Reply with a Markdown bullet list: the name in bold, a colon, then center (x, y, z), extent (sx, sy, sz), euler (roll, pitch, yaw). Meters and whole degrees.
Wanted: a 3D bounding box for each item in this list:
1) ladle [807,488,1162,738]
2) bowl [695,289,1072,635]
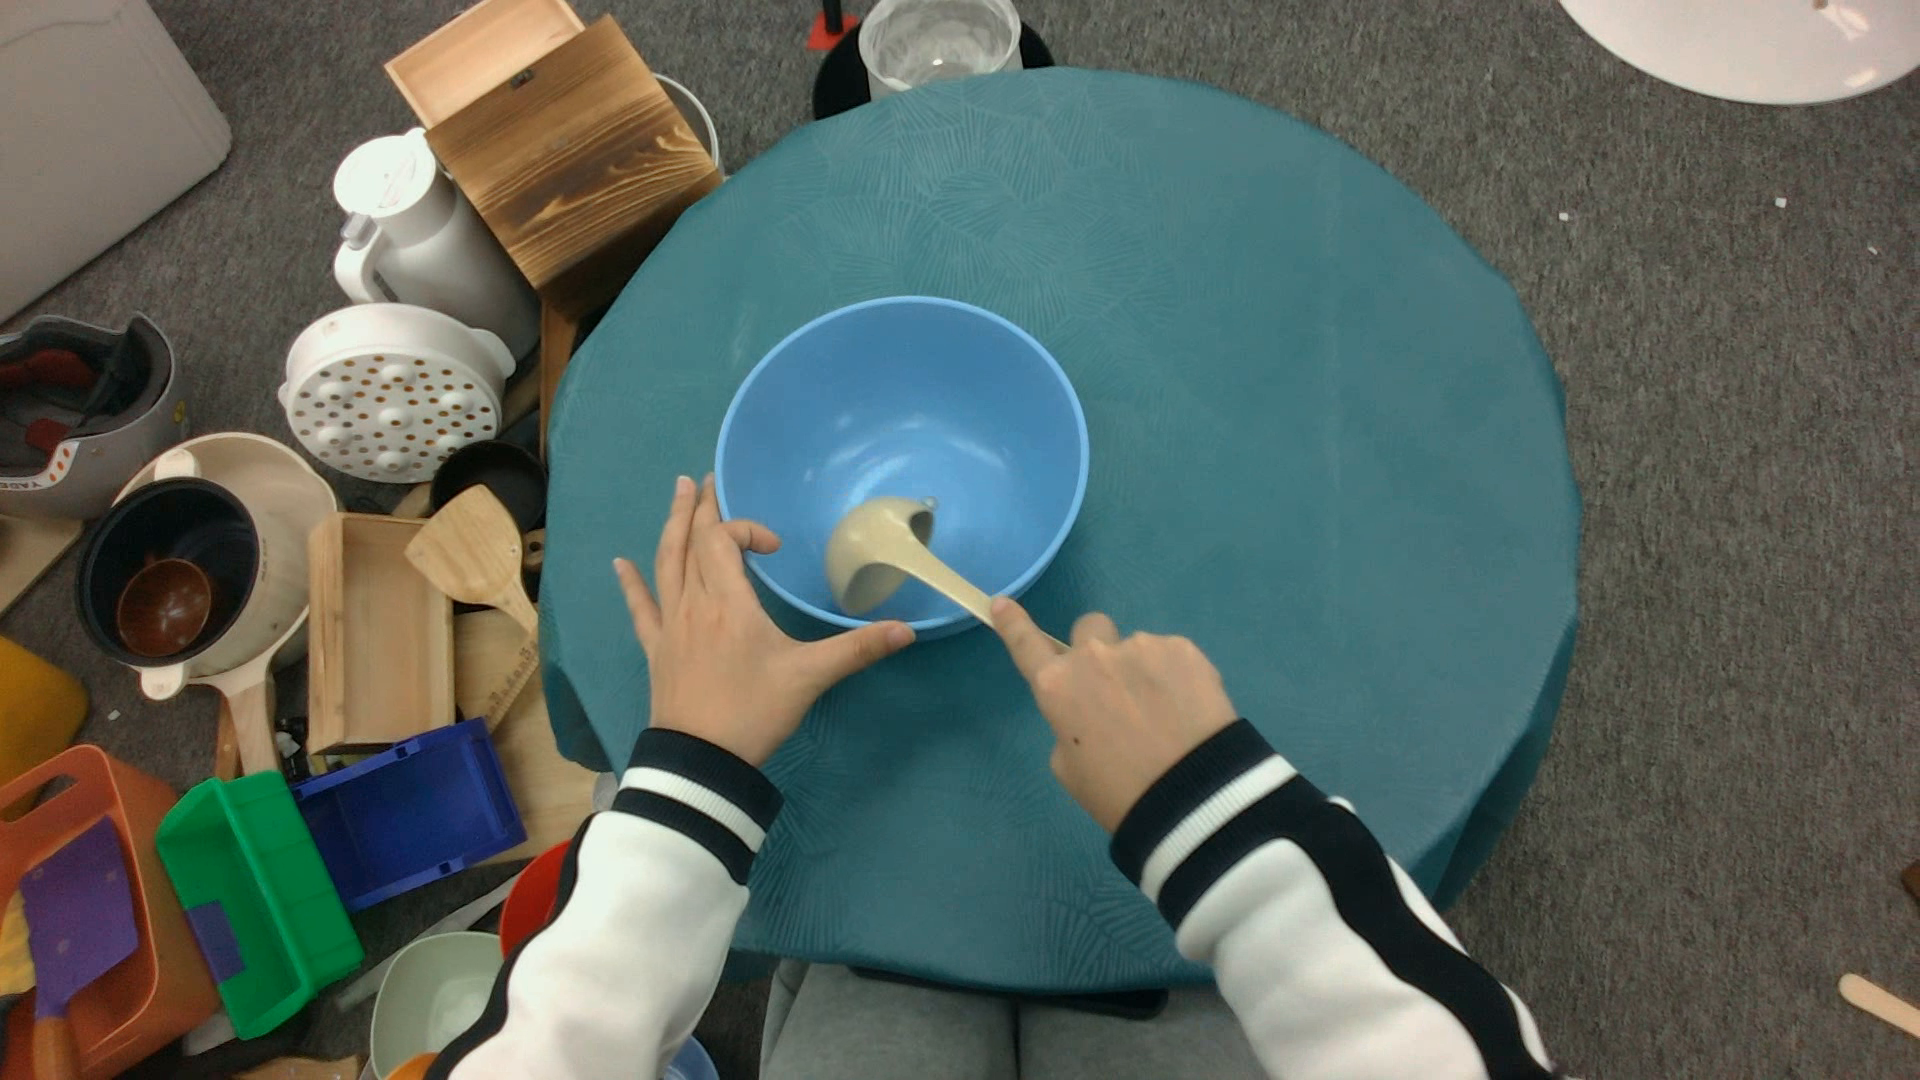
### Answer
- **ladle**: center (0.014, 0.047, 0.668), extent (0.072, 0.072, 0.254), euler (-43, 46, -14)
- **bowl**: center (-0.039, -0.030, 0.758), extent (0.196, 0.095, 0.197), euler (0, 66, 1)
